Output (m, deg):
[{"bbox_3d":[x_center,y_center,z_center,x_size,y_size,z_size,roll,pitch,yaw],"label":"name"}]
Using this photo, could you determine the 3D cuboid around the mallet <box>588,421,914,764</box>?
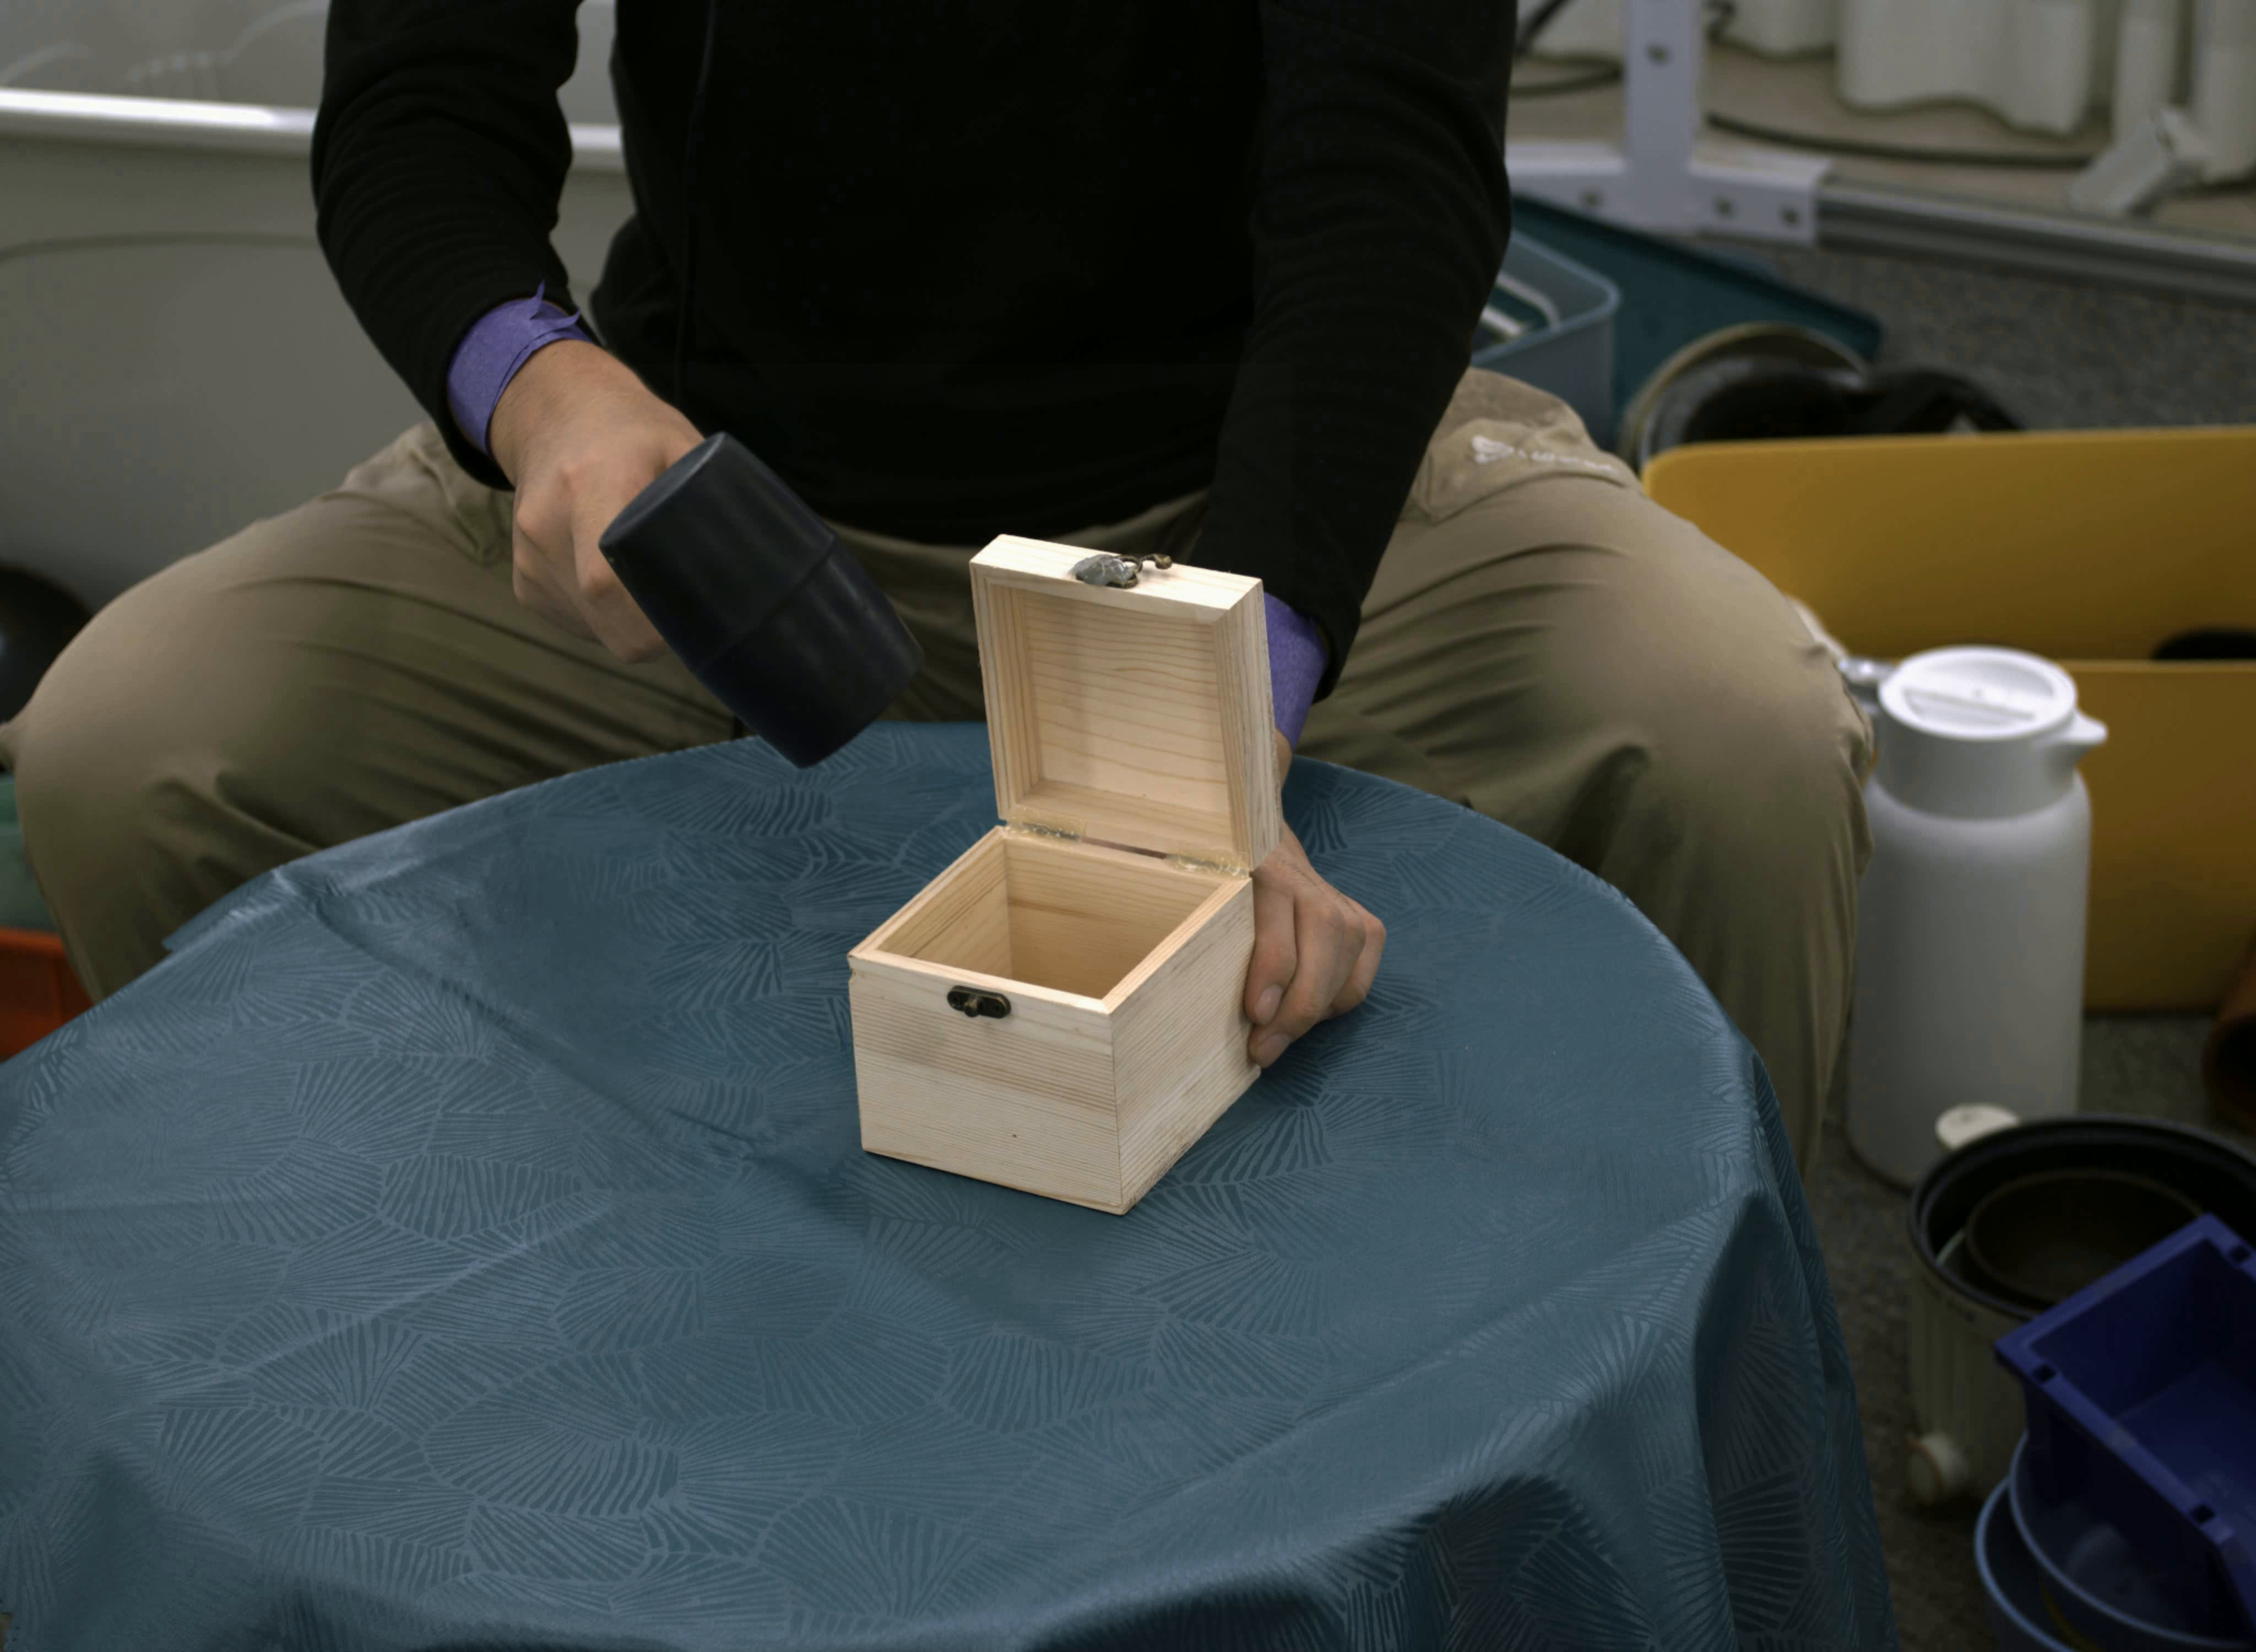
[{"bbox_3d":[-0.143,-0.089,1.916,0.064,0.101,0.339,-37,11,-4],"label":"mallet"}]

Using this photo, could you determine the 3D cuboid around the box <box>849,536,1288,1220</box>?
[{"bbox_3d":[-0.021,0.015,1.875,0.102,0.183,0.136,12,27,26],"label":"box"}]
